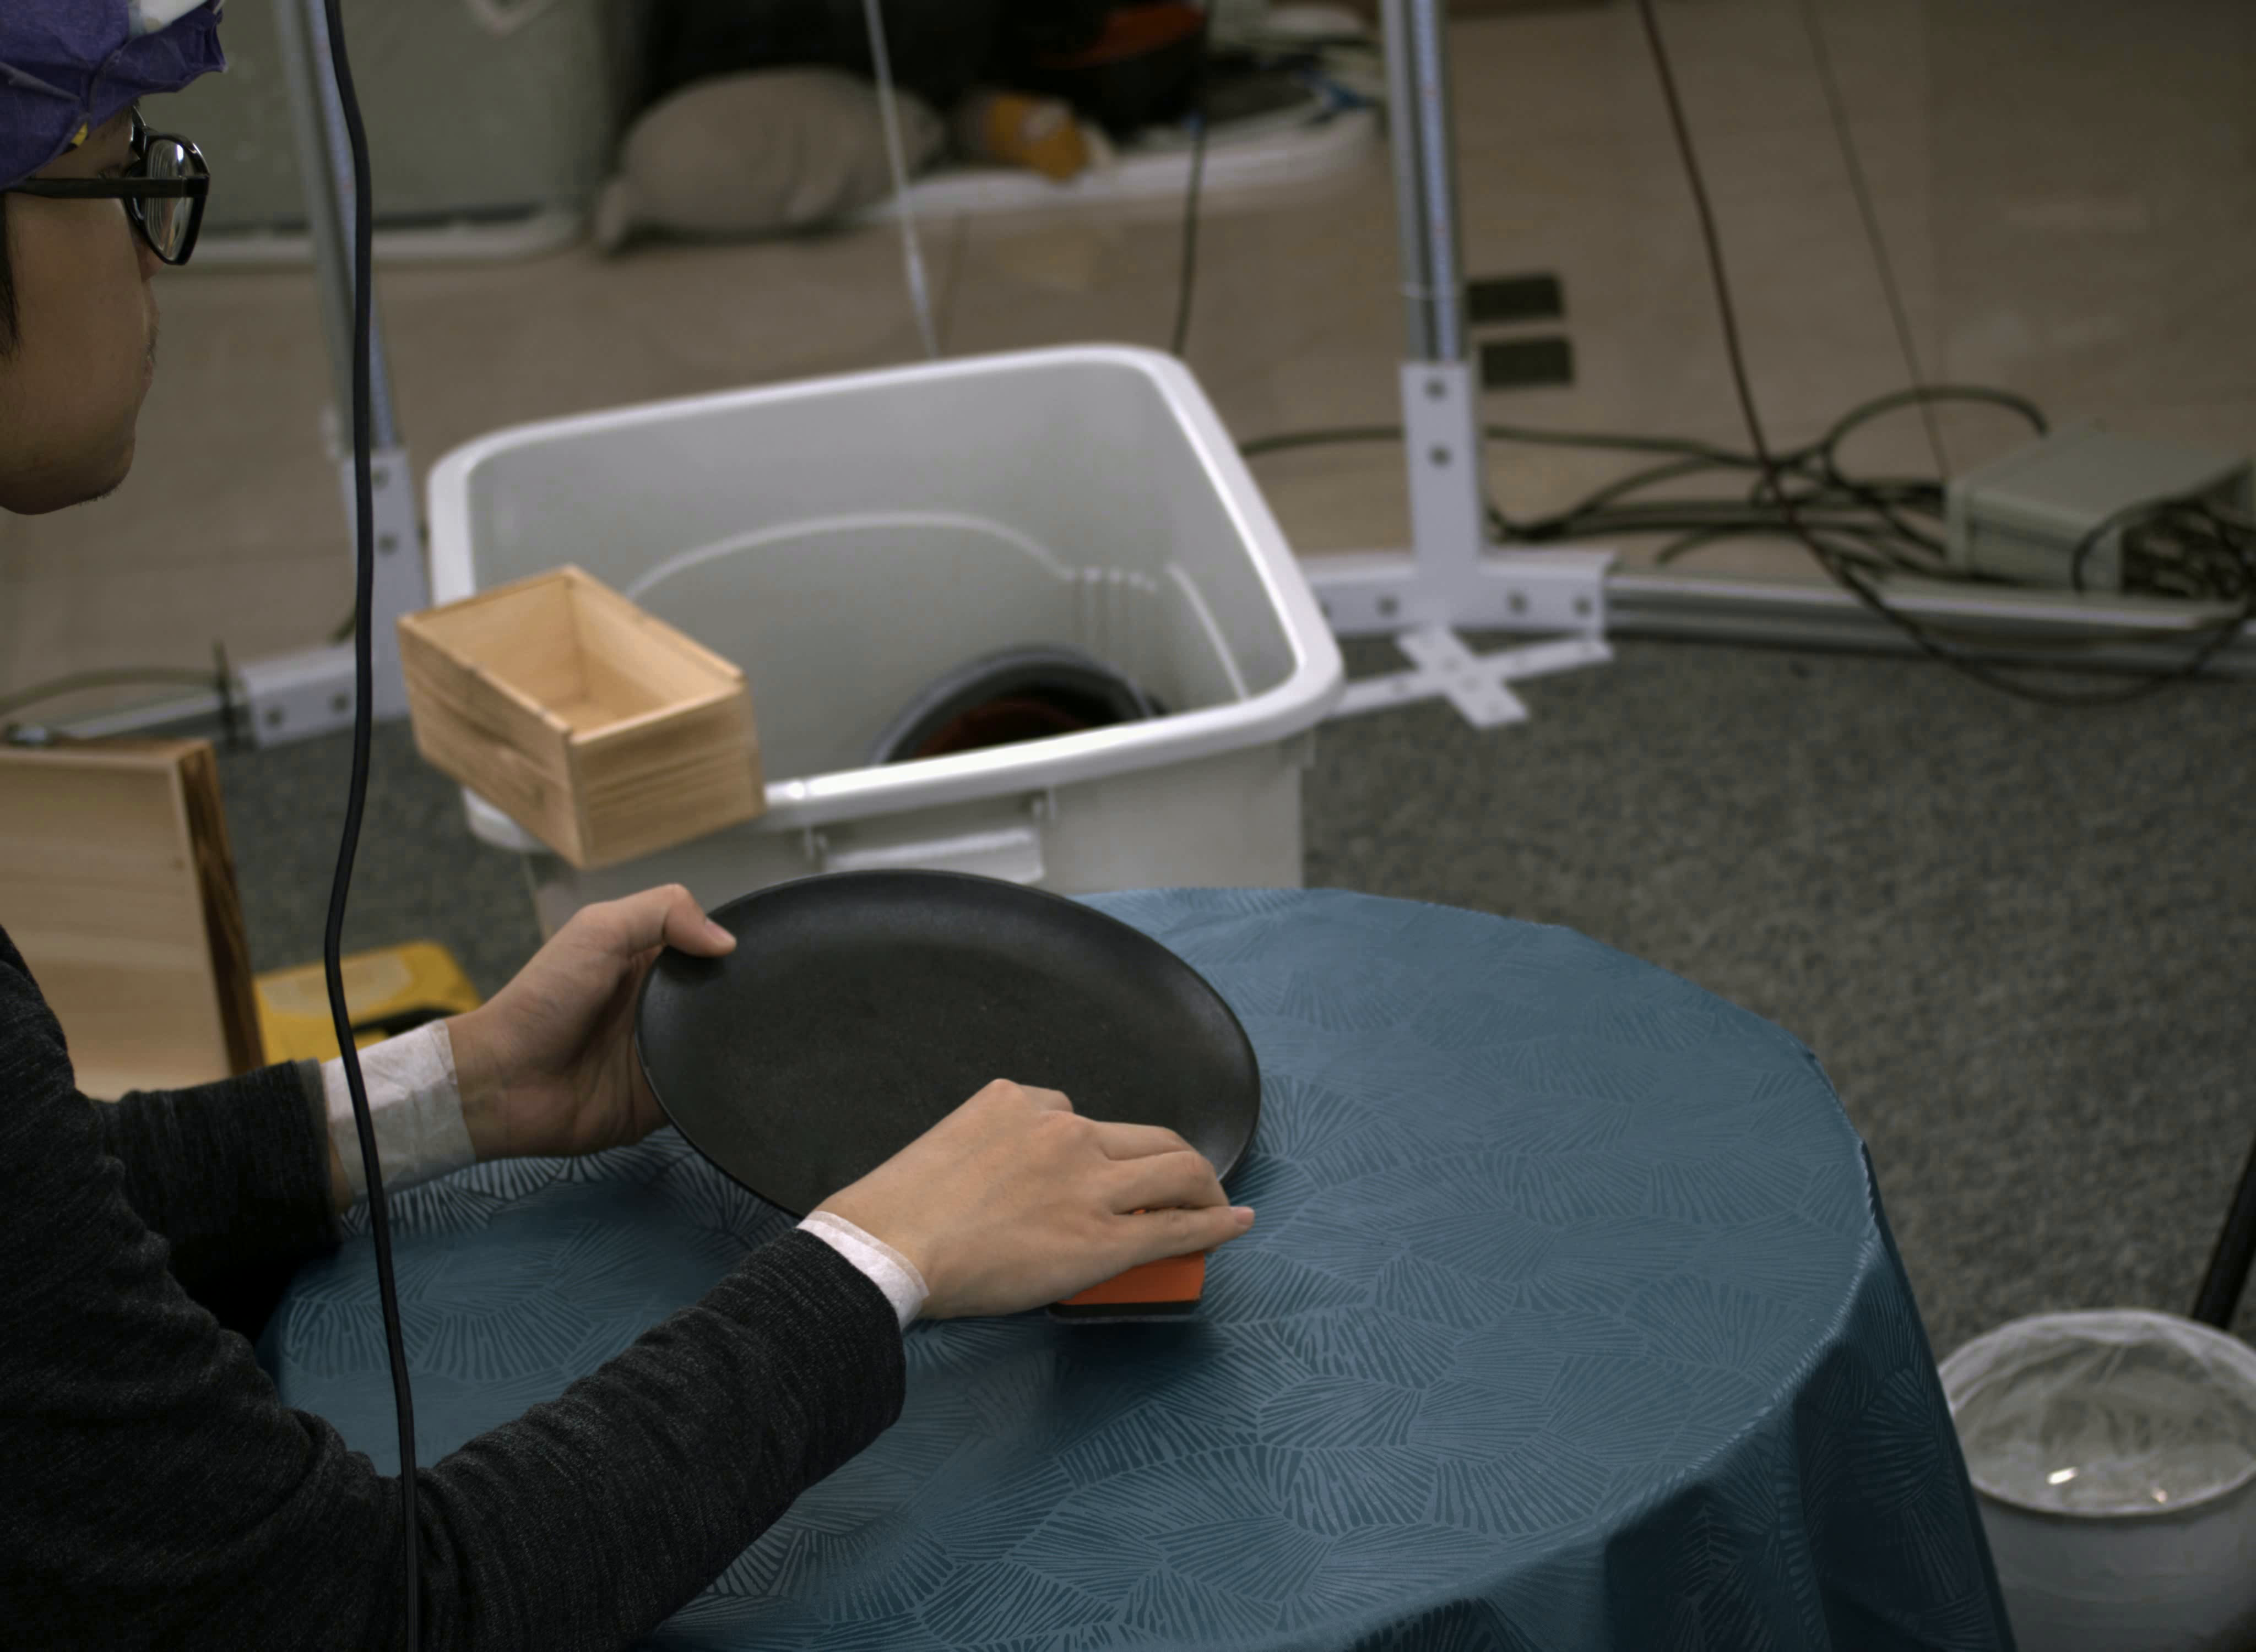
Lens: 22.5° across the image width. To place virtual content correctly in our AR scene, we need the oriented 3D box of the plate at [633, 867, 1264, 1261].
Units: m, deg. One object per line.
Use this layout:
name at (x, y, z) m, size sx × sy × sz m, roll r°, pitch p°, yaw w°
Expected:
plate at (-0.069, 0.095, 2.170) m, size 0.244 × 0.024 × 0.240 m, roll 7°, pitch 35°, yaw -5°

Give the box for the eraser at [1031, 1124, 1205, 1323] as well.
eraser at (-0.004, 0.144, 2.069) m, size 0.059 × 0.023 × 0.106 m, roll -8°, pitch 24°, yaw 0°
